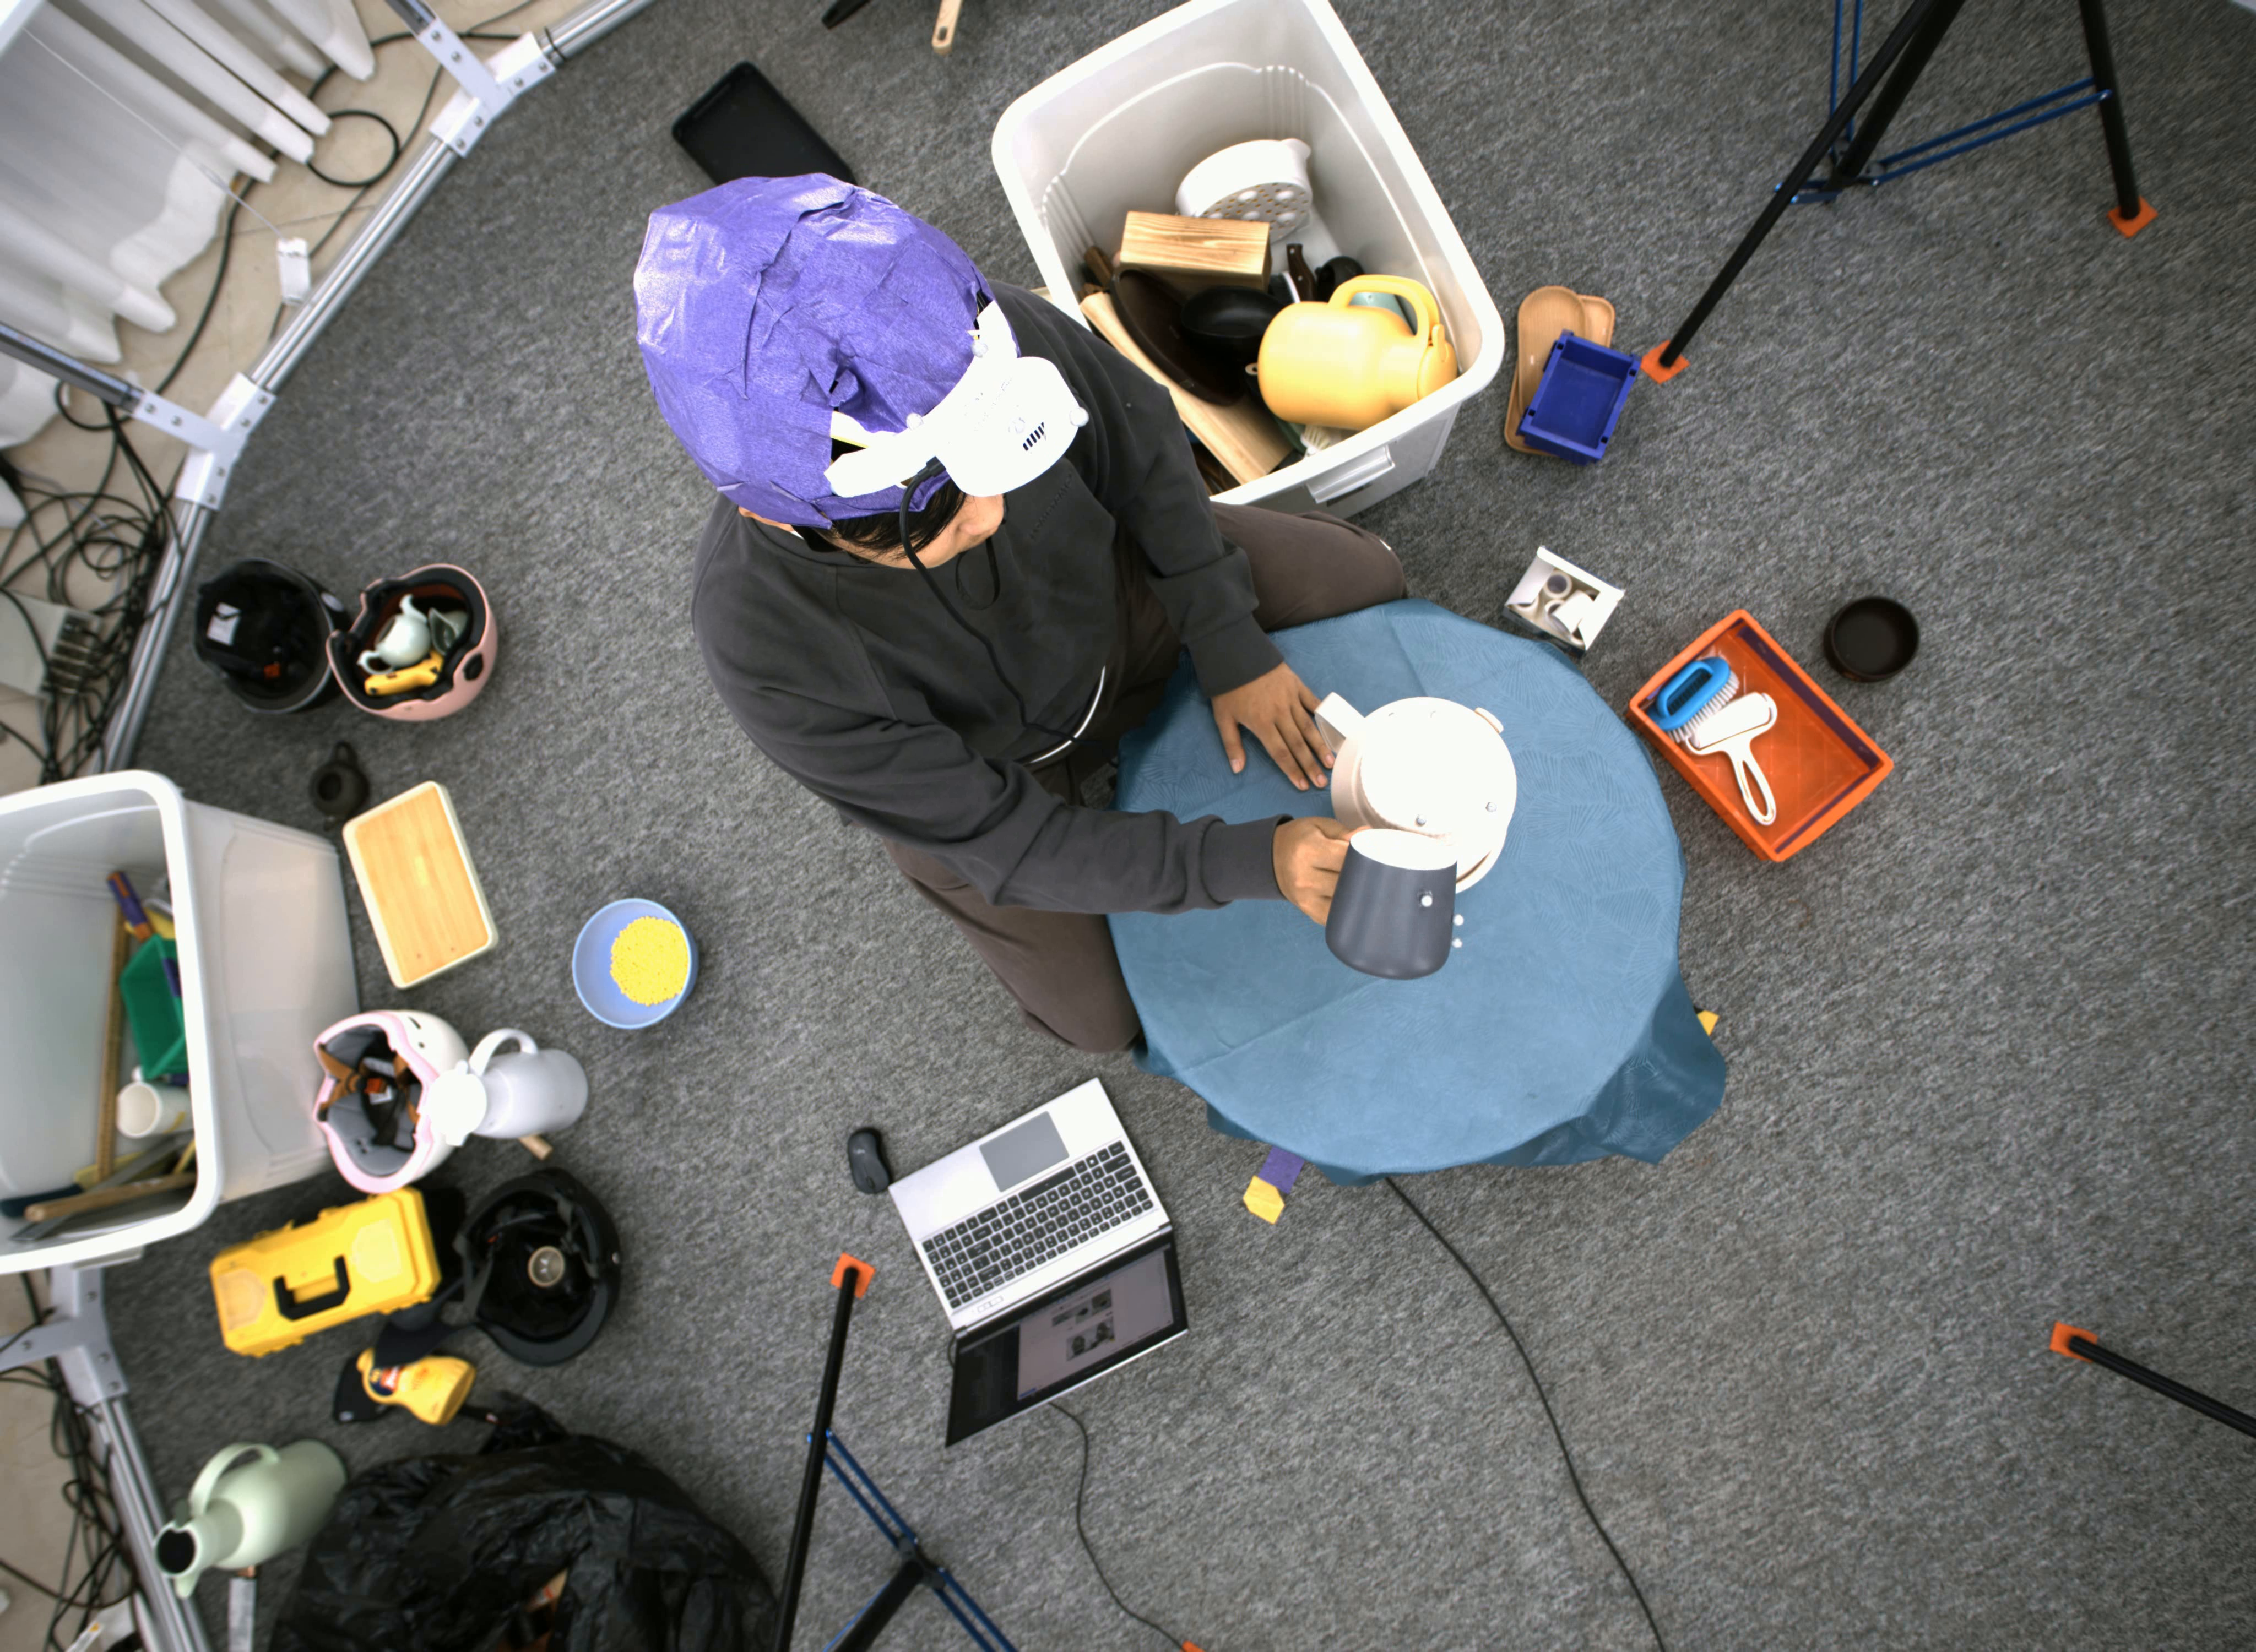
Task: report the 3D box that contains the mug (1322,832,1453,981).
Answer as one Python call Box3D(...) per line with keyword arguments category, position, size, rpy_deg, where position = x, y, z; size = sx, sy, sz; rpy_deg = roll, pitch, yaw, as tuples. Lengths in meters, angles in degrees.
Box3D(category="mug", position=(0.191, 0.053, 1.042), size=(0.093, 0.121, 0.091), rpy_deg=(0, 112, -16))

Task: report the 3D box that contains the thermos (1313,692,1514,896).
Box3D(category="thermos", position=(0.256, -0.033, 1.268), size=(0.206, 0.407, 0.176), rpy_deg=(43, 93, 11))
